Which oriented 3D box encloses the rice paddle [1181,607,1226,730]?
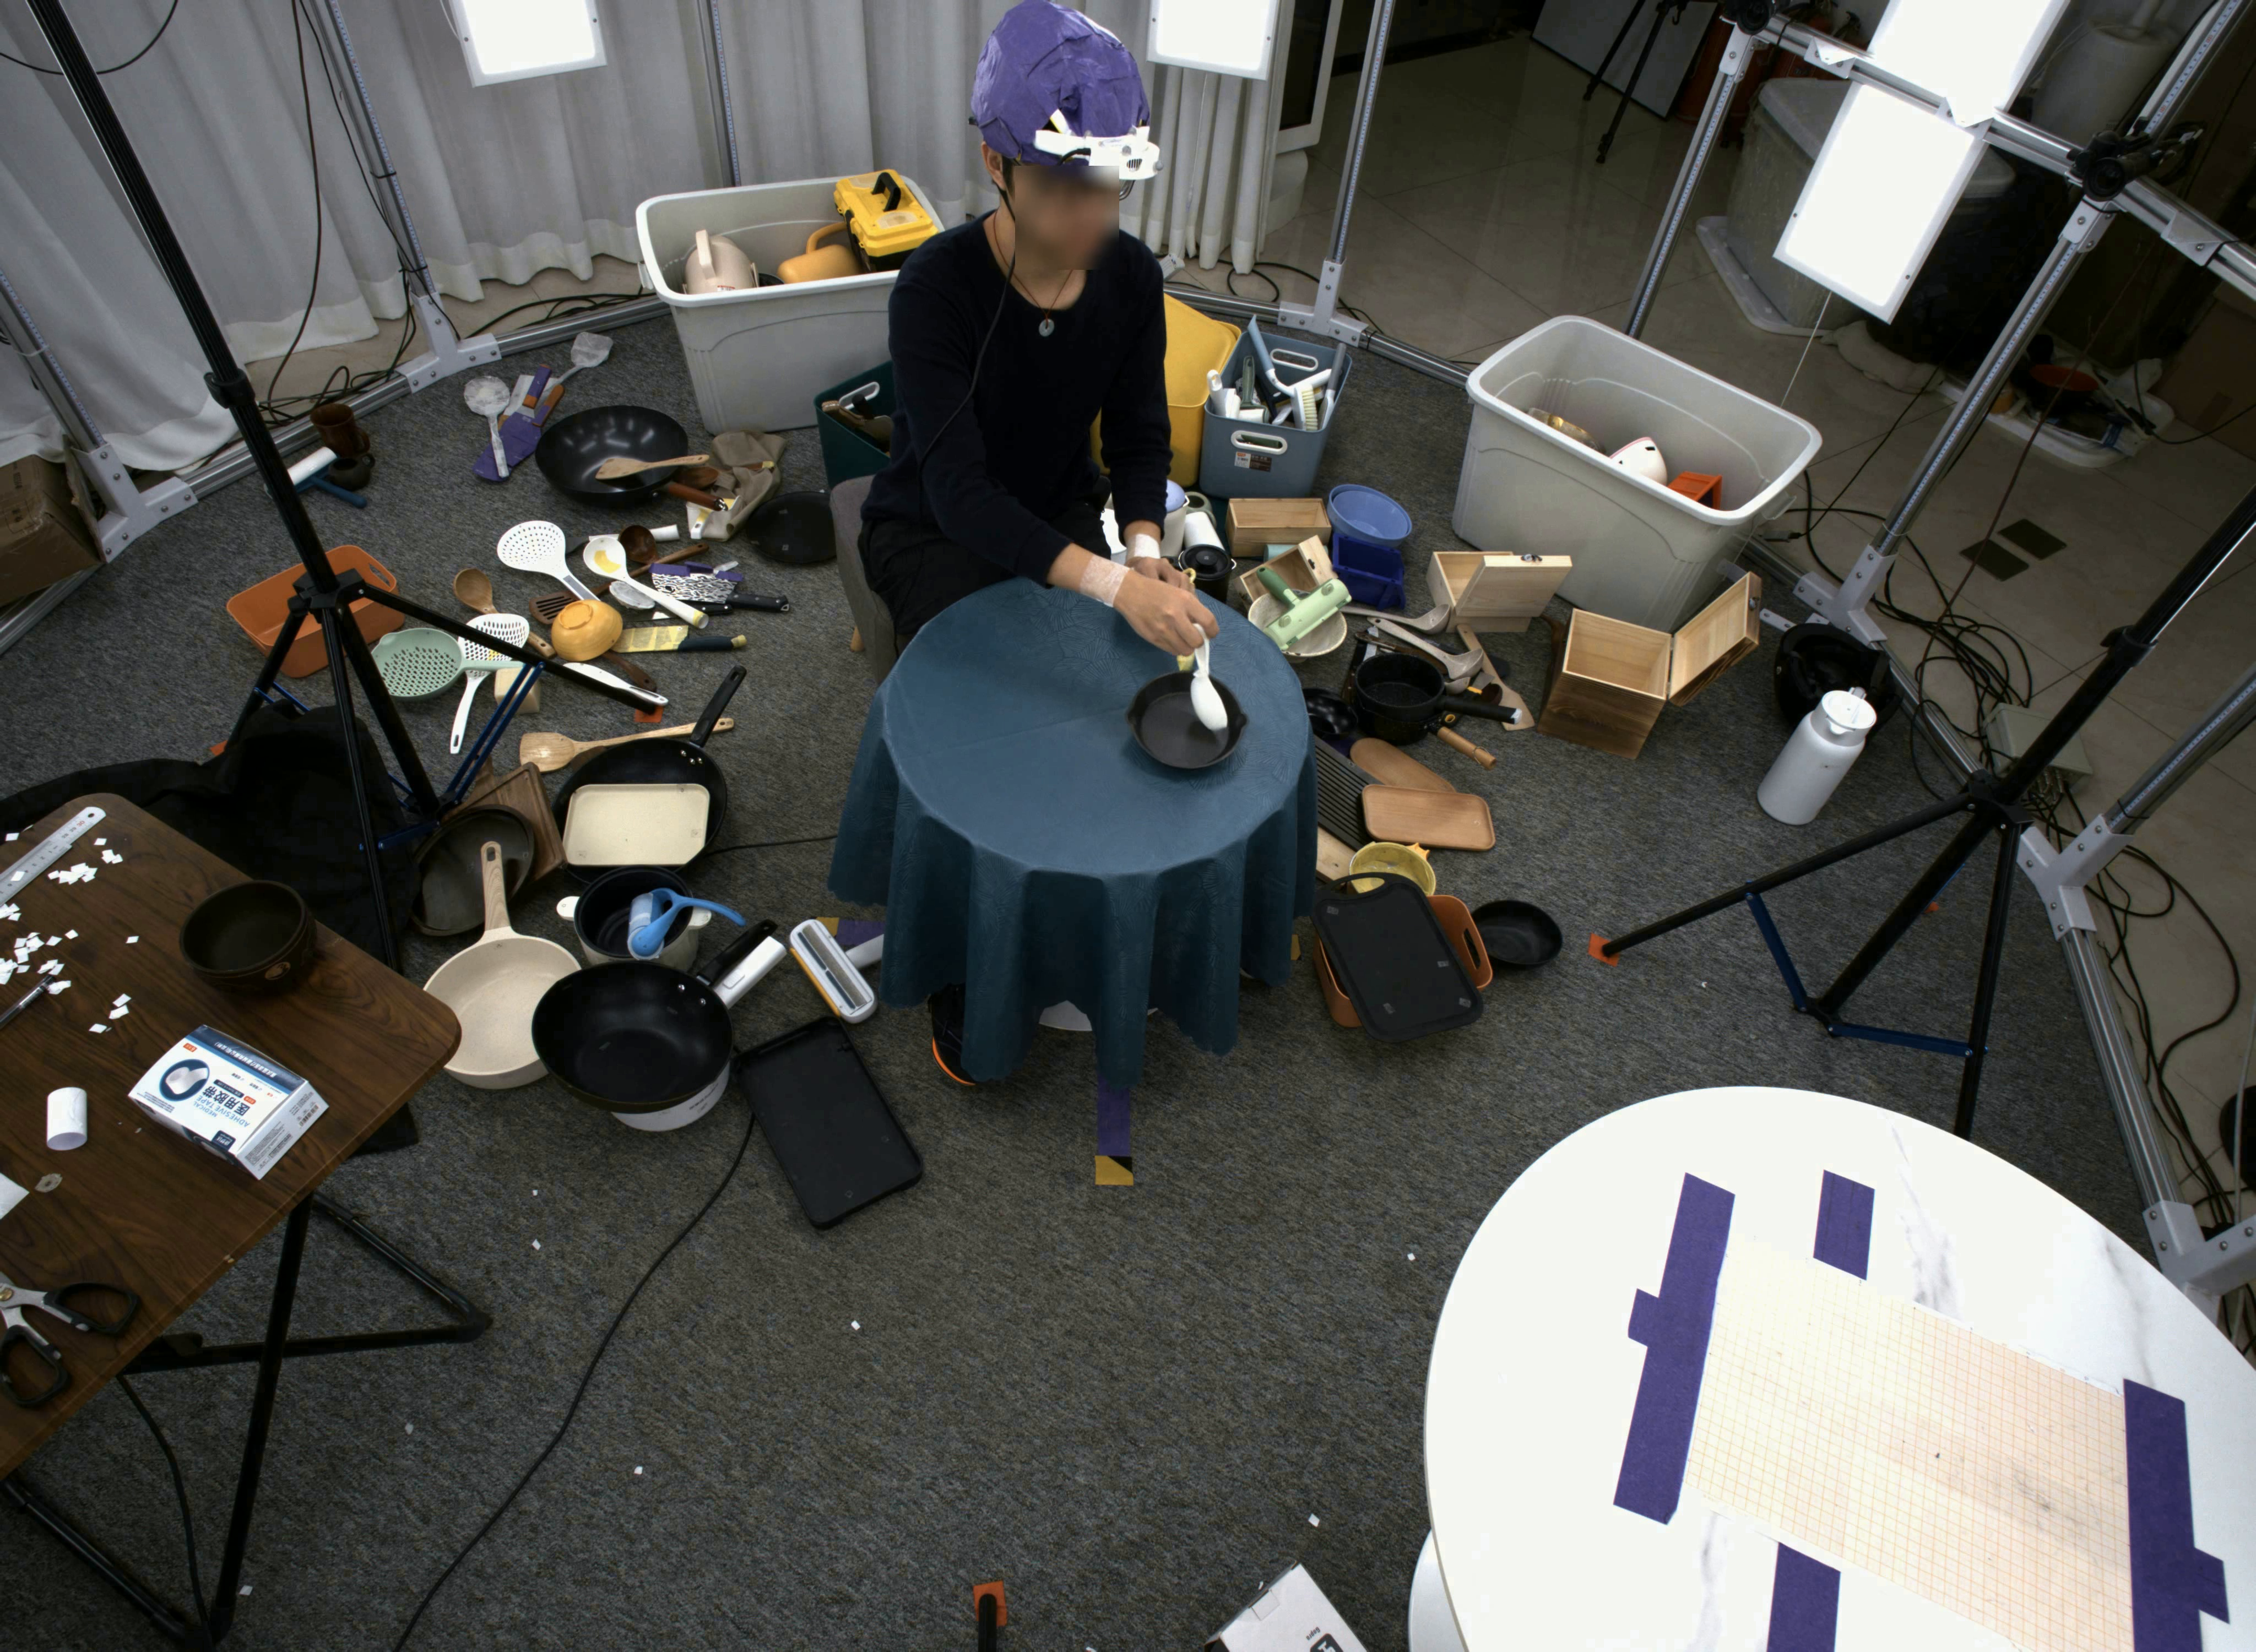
[{"bbox_3d":[0.099,-0.204,1.700,0.029,0.200,0.070,-38,51,-20],"label":"rice paddle"}]

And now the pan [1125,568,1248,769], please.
[{"bbox_3d":[0.084,-0.219,1.795,0.169,0.048,0.331,3,61,0],"label":"pan"}]
